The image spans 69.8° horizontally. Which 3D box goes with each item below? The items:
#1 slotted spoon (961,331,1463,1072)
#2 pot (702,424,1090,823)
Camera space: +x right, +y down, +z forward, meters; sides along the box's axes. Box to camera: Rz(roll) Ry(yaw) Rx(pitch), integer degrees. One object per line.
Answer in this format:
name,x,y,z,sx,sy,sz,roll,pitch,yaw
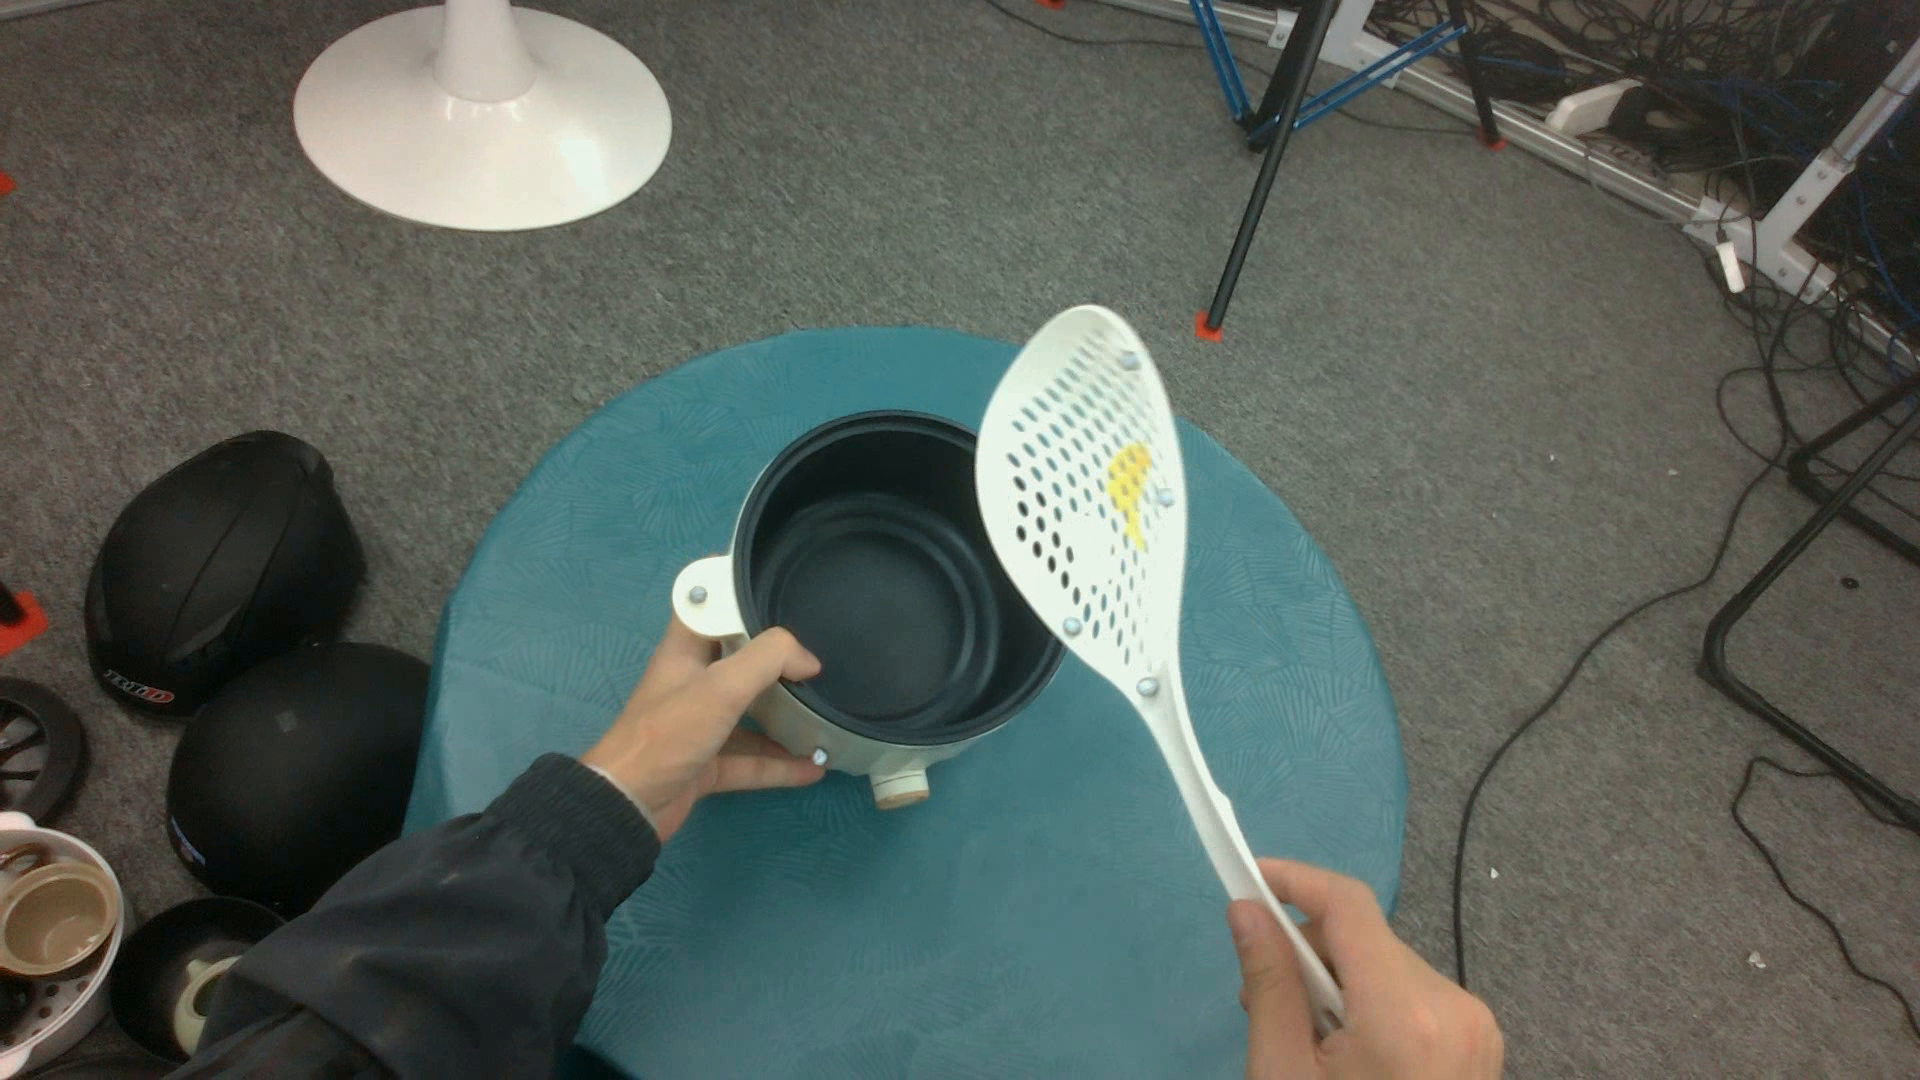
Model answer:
slotted spoon,0.094,0.060,0.577,0.050,0.136,0.349,-5,55,-29
pot,-0.025,0.051,0.766,0.241,0.142,0.191,-11,67,-18
